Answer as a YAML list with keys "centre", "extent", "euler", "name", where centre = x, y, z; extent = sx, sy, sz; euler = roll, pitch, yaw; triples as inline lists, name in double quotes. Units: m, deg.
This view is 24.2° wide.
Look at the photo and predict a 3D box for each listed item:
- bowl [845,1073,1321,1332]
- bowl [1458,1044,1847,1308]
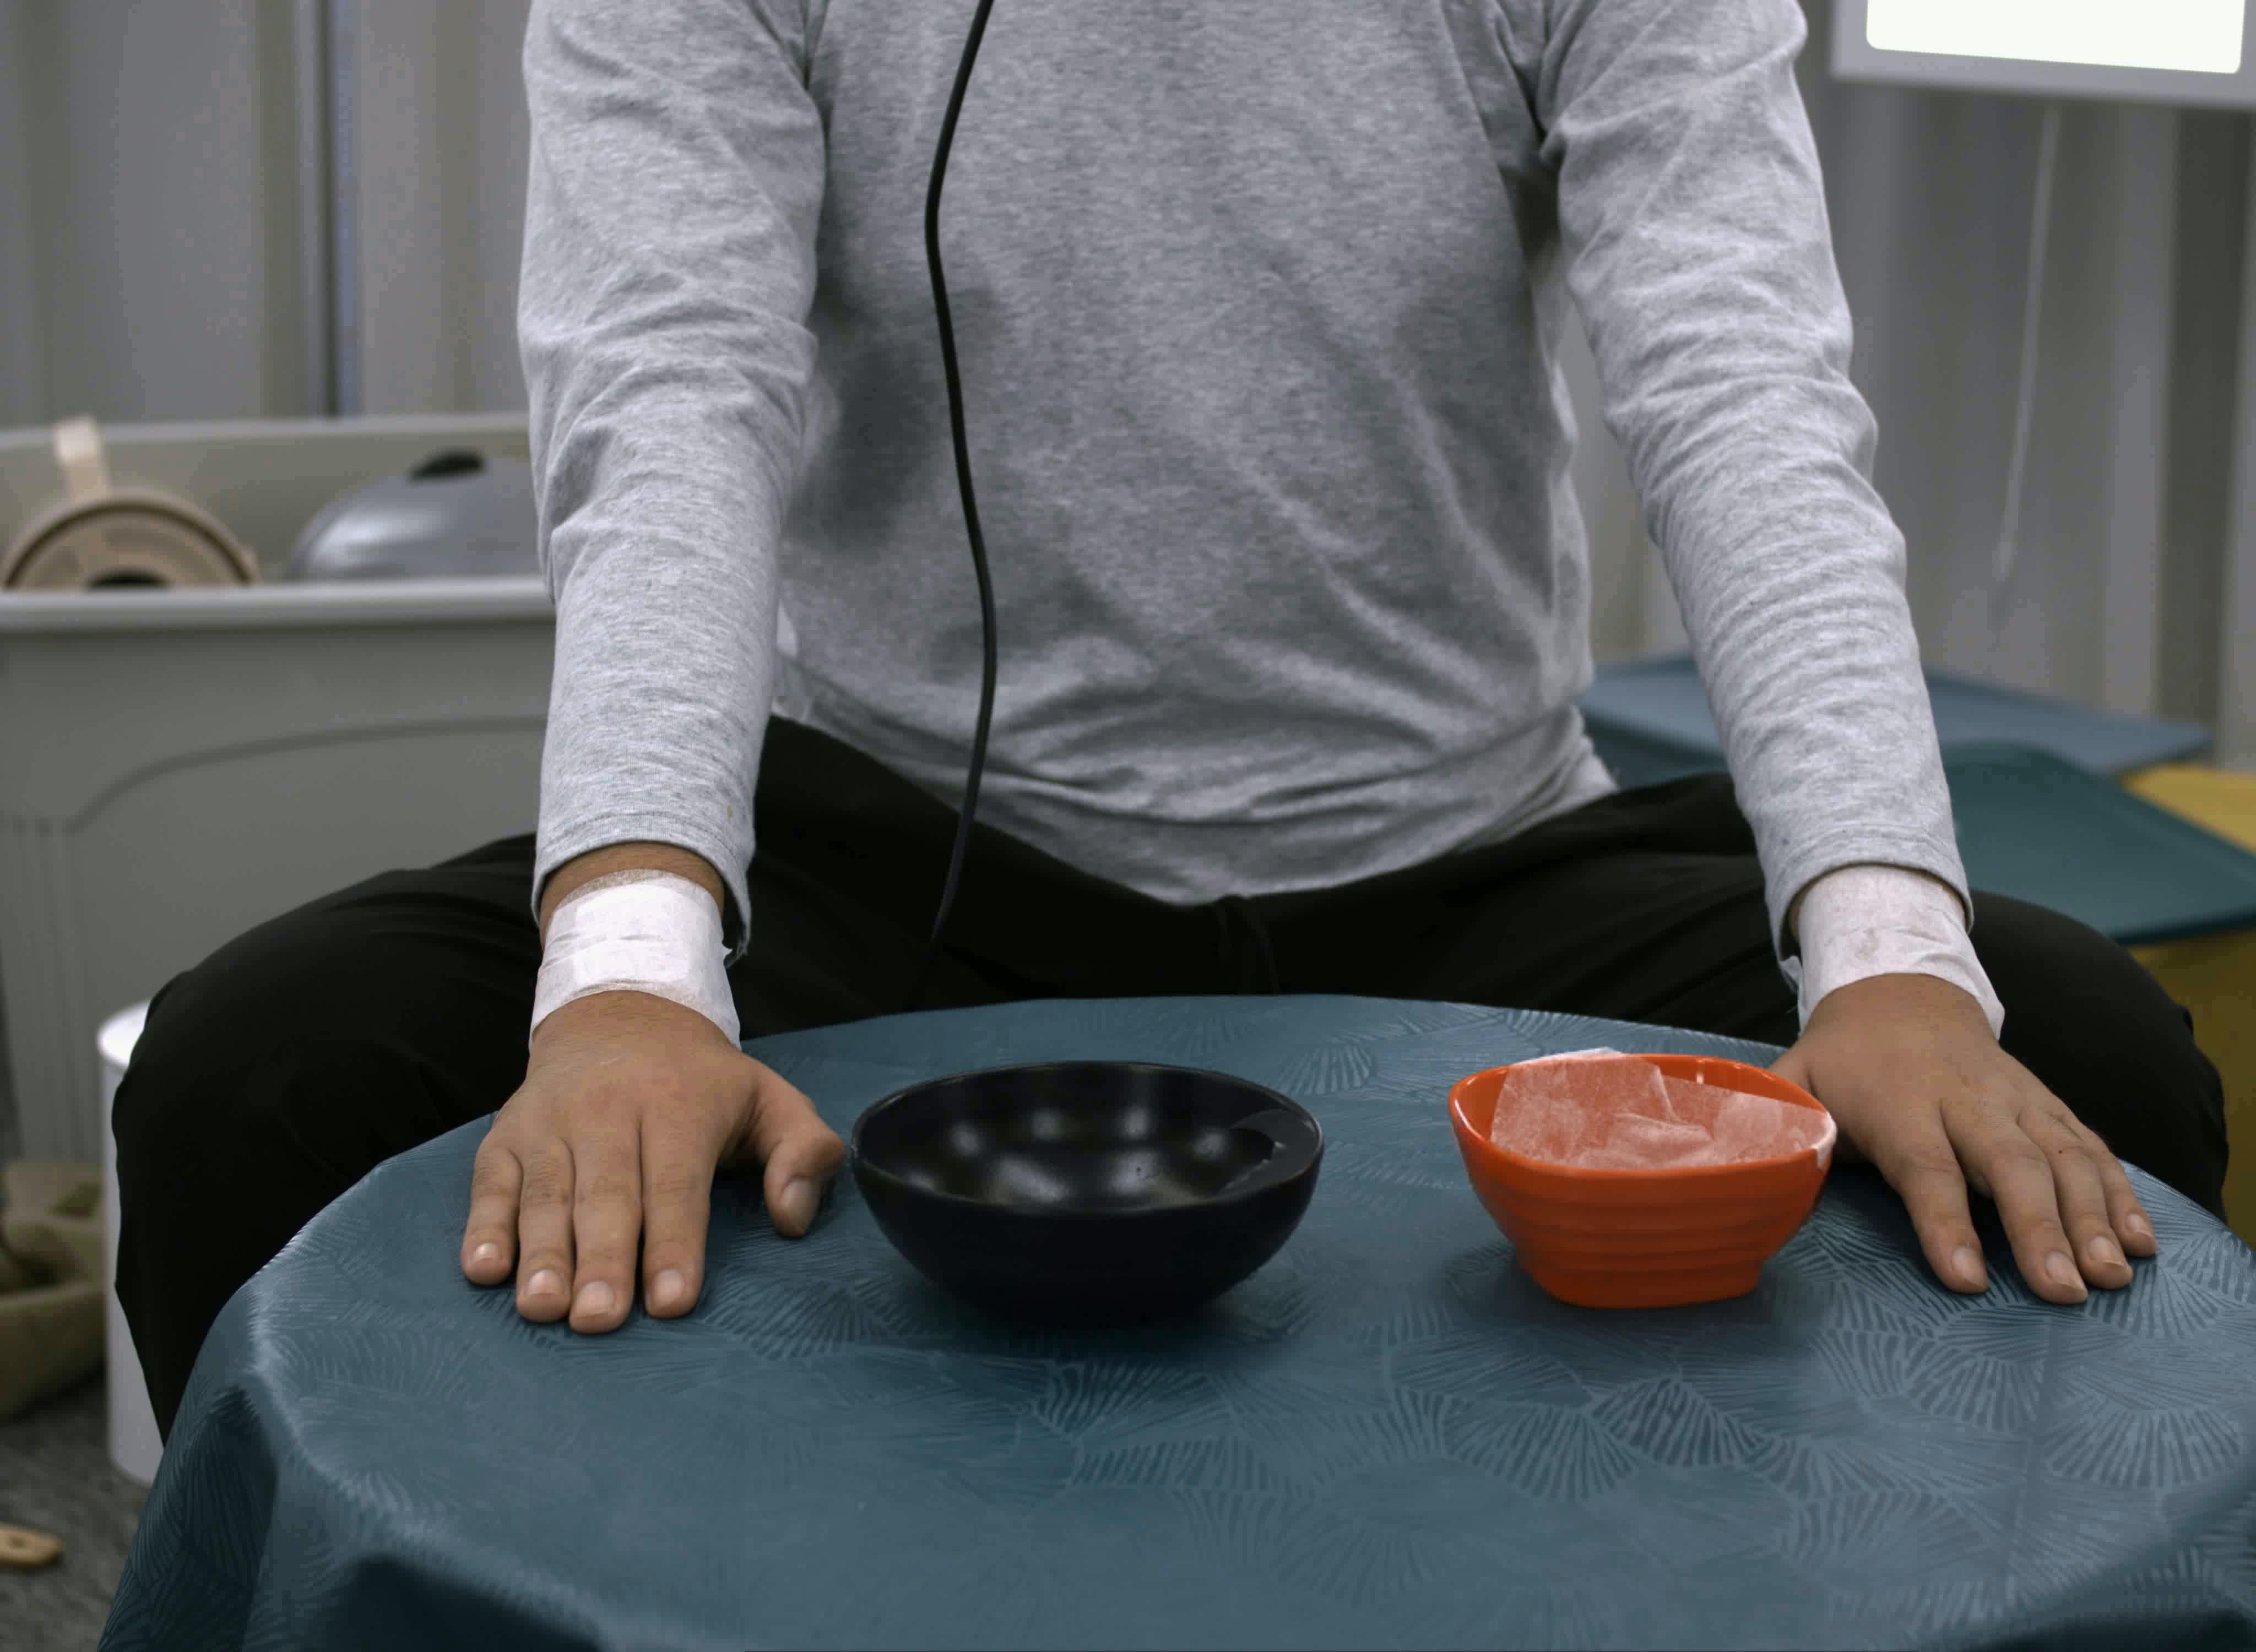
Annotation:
- centre: [-0.013, 0.113, 1.535]
  extent: [0.139, 0.050, 0.139]
  euler: [1, 13, 0]
  name: "bowl"
- centre: [0.153, 0.106, 1.554]
  extent: [0.118, 0.052, 0.118]
  euler: [0, 17, 1]
  name: "bowl"
